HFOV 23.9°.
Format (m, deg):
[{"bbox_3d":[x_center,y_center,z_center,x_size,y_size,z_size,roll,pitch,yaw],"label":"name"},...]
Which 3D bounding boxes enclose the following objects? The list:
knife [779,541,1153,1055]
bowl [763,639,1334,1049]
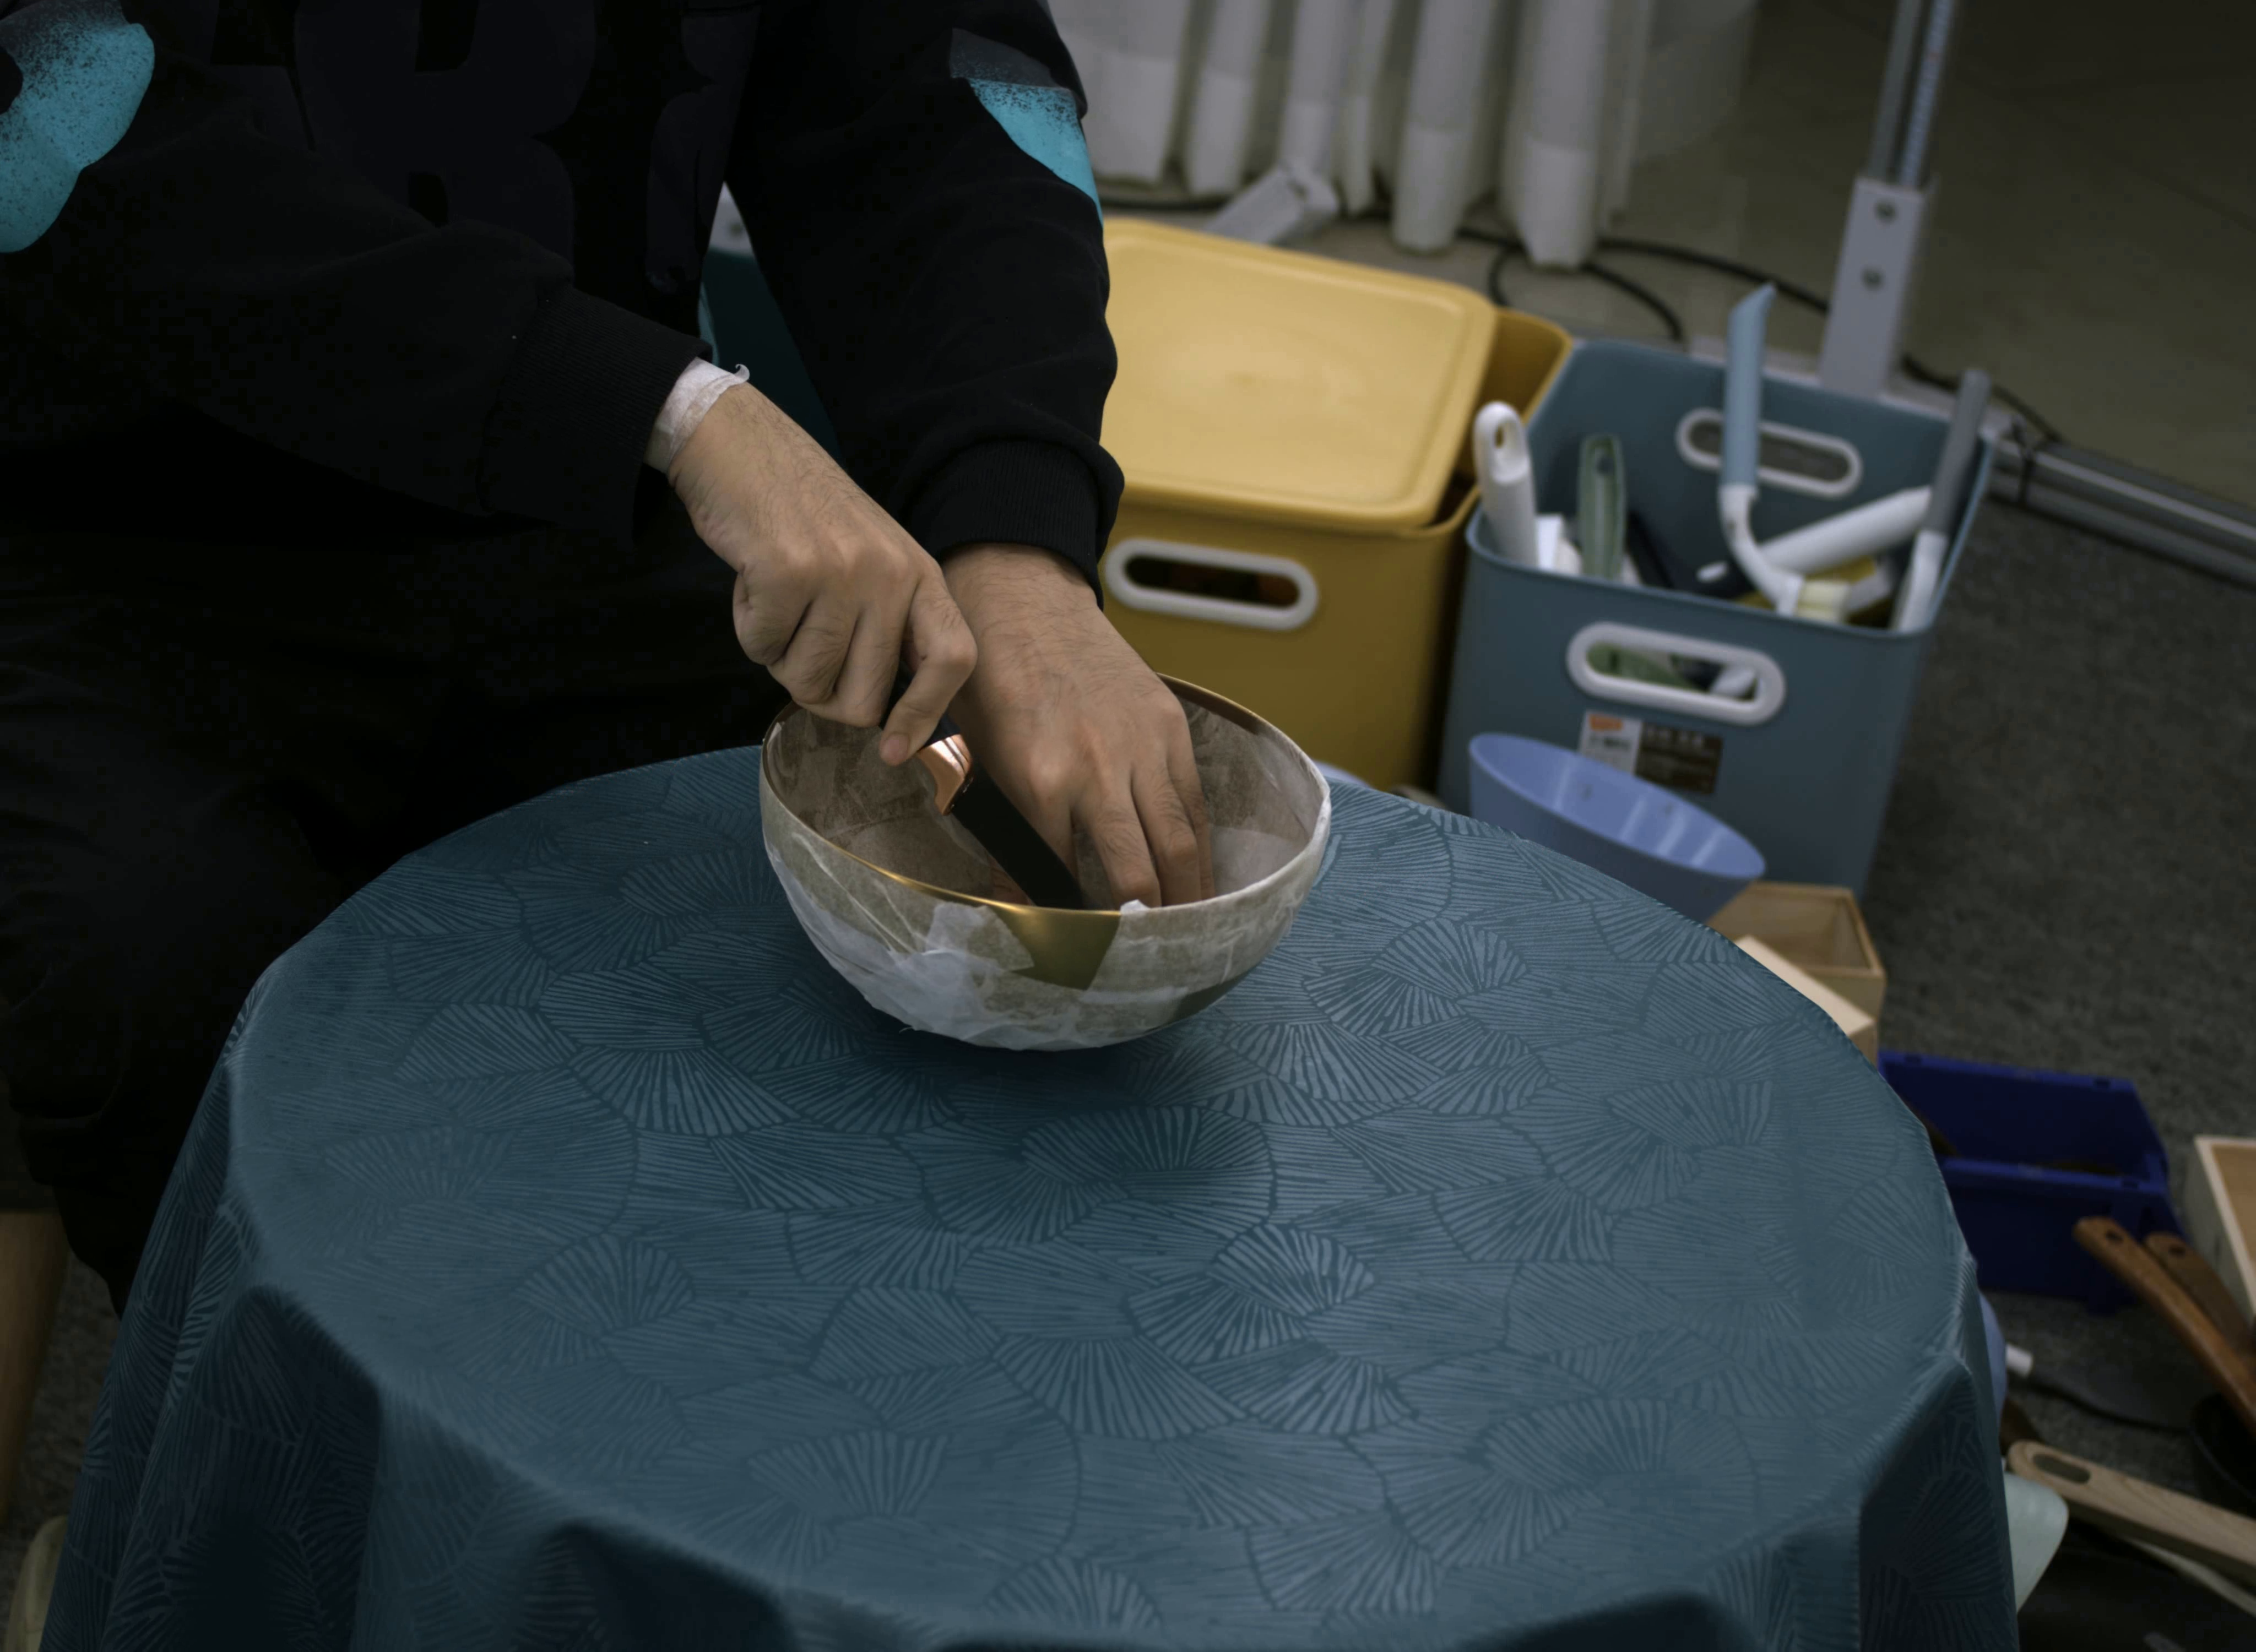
[{"bbox_3d":[-0.055,-0.011,1.882,0.227,0.026,0.017,52,32,15],"label":"knife"},{"bbox_3d":[-0.034,0.017,1.896,0.214,0.094,0.216,5,29,-3],"label":"bowl"}]
